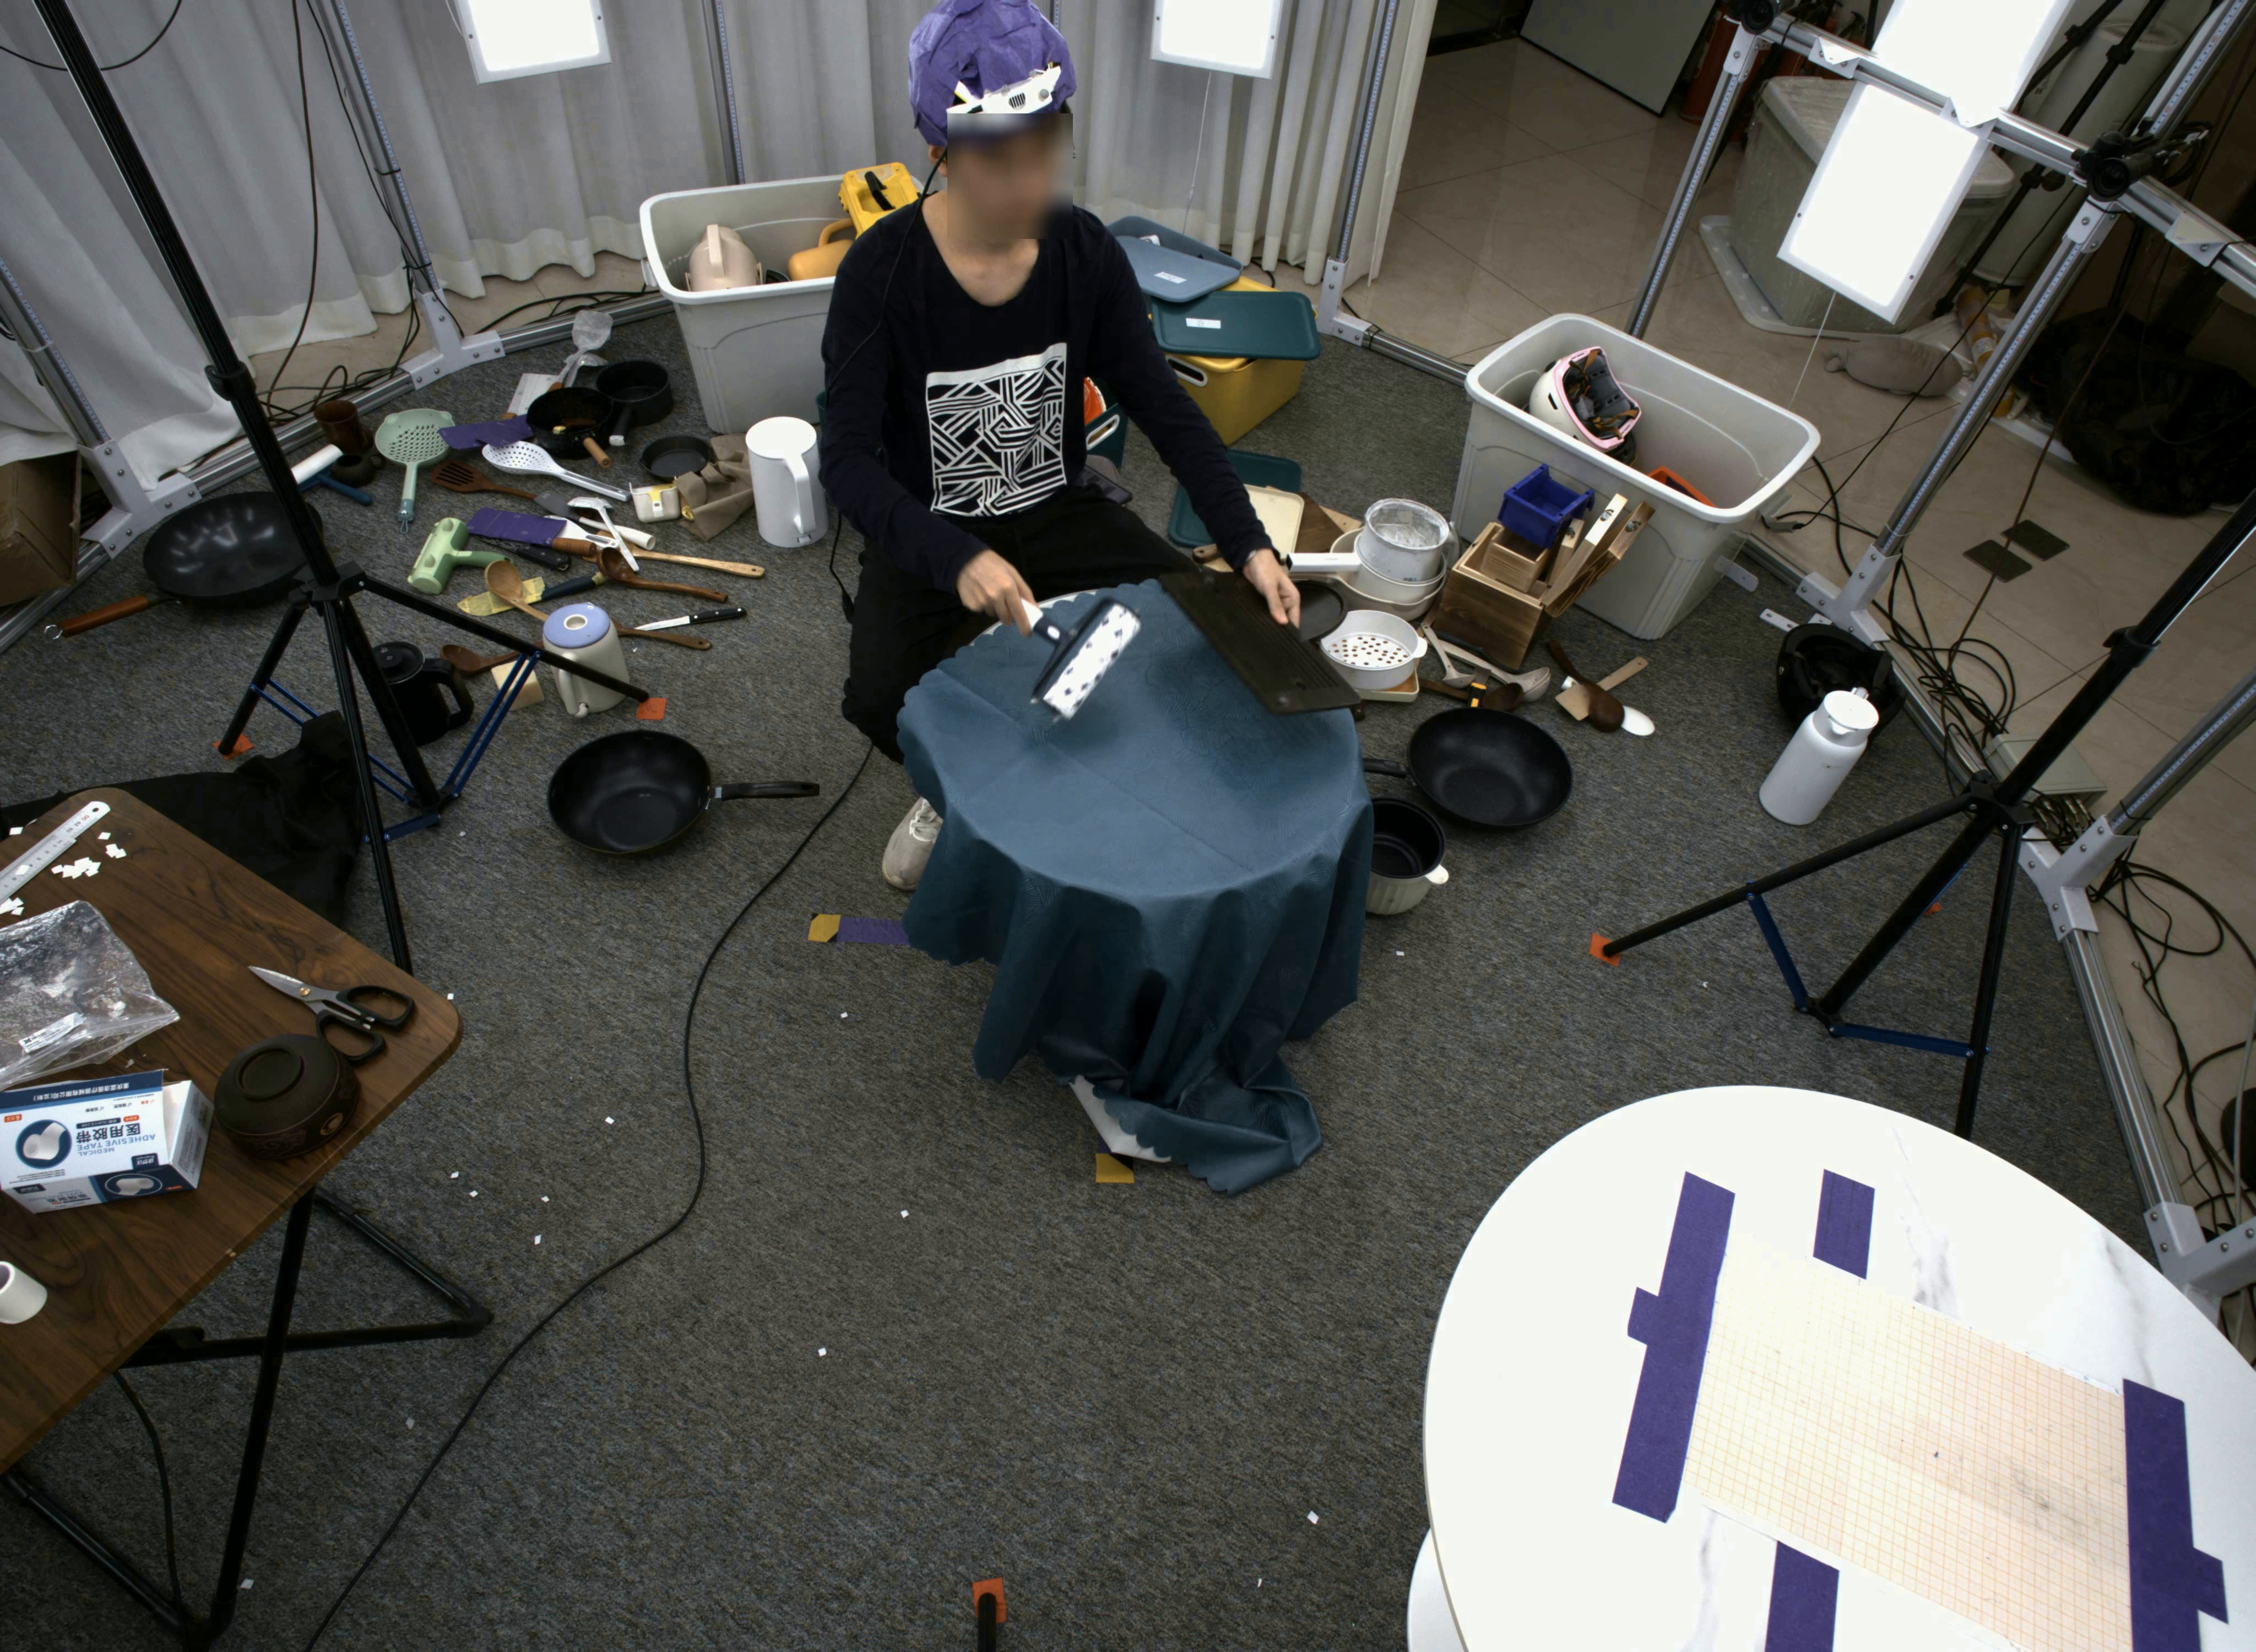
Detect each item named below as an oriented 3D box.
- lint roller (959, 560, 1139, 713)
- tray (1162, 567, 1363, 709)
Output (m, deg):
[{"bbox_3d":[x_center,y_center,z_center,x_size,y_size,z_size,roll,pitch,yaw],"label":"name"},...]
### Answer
[{"bbox_3d":[-0.130,-0.289,1.757,0.248,0.050,0.177,34,85,6],"label":"lint roller"},{"bbox_3d":[0.184,-0.264,1.793,0.170,0.018,0.312,-7,47,-36],"label":"tray"}]
